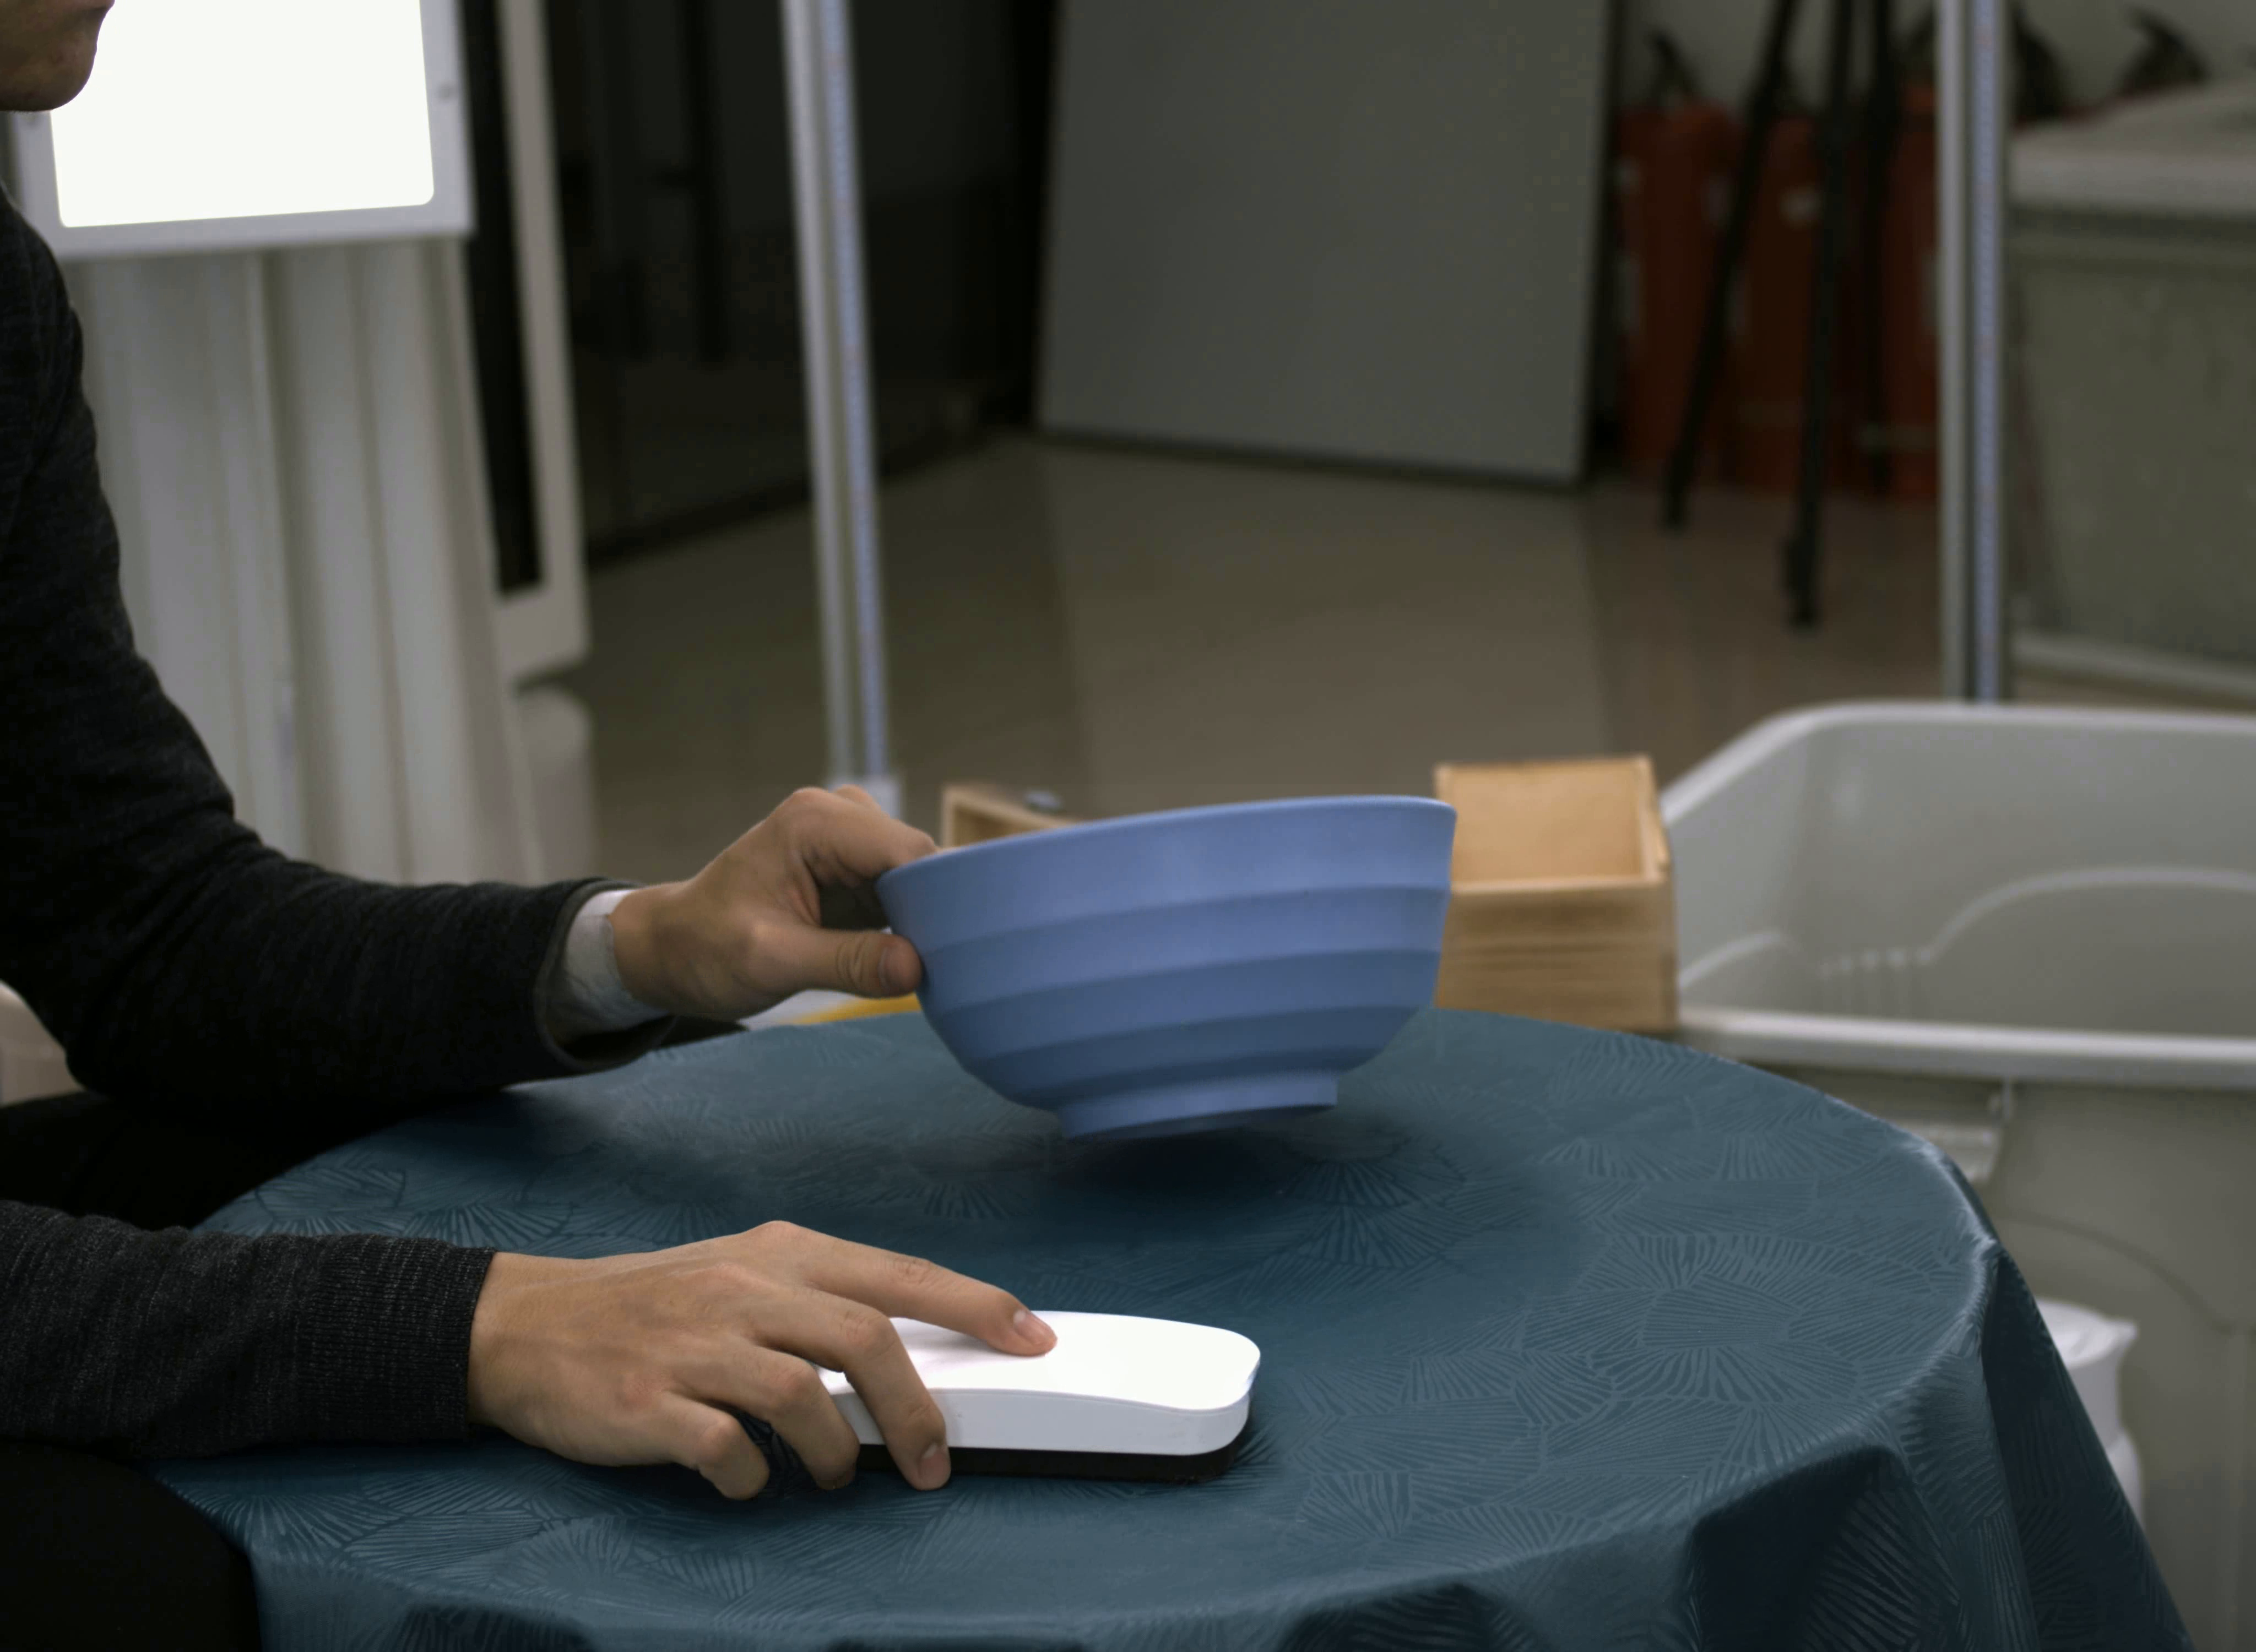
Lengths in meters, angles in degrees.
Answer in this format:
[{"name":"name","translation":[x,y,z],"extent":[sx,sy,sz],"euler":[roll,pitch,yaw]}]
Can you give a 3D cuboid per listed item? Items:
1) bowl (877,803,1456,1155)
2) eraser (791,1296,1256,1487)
[{"name":"bowl","translation":[0.019,0.055,1.784],"extent":[0.194,0.097,0.196],"euler":[-8,-5,-2]},{"name":"eraser","translation":[-0.029,0.162,1.545],"extent":[0.131,0.035,0.063],"euler":[2,15,16]}]
